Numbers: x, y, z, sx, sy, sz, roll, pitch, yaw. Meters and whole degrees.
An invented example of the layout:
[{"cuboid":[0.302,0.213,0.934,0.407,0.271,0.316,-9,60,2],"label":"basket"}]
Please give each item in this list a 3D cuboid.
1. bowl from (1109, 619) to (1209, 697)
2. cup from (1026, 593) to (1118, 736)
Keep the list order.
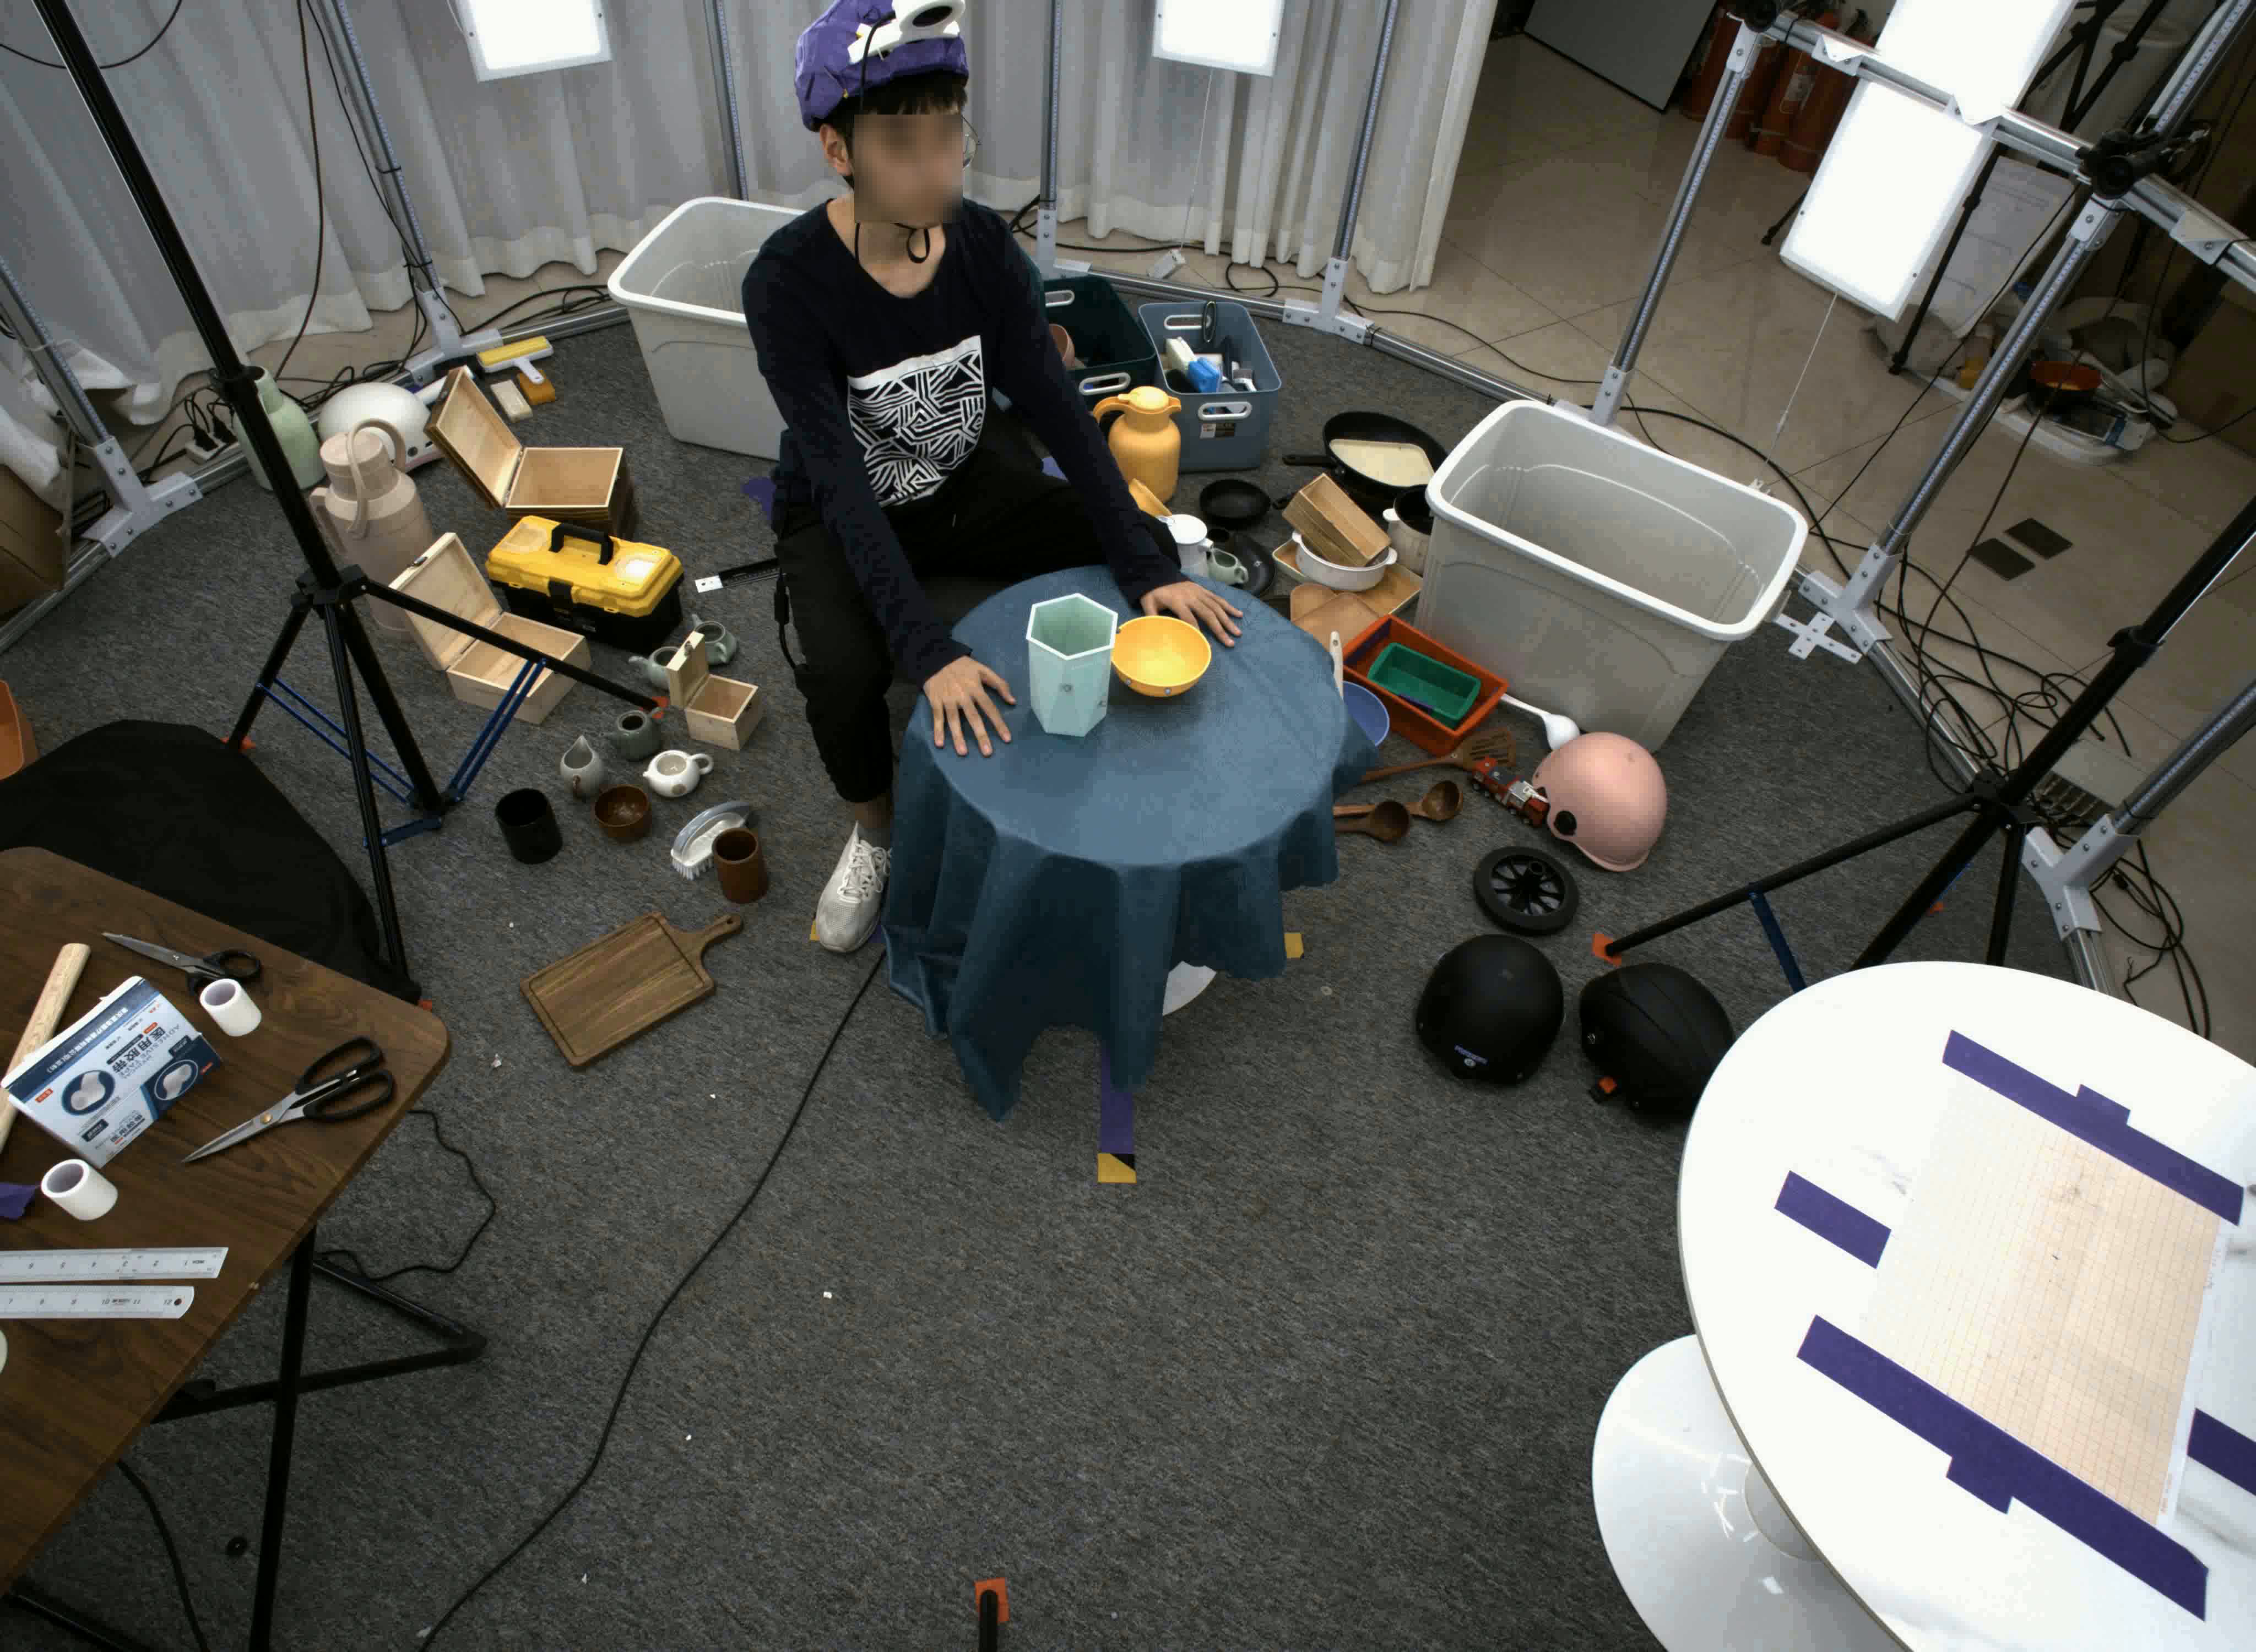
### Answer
[{"cuboid":[0.041,-0.228,1.835,0.145,0.058,0.149,2,46,-3],"label":"bowl"},{"cuboid":[-0.077,-0.213,1.742,0.131,0.159,0.118,-18,51,-20],"label":"cup"}]
